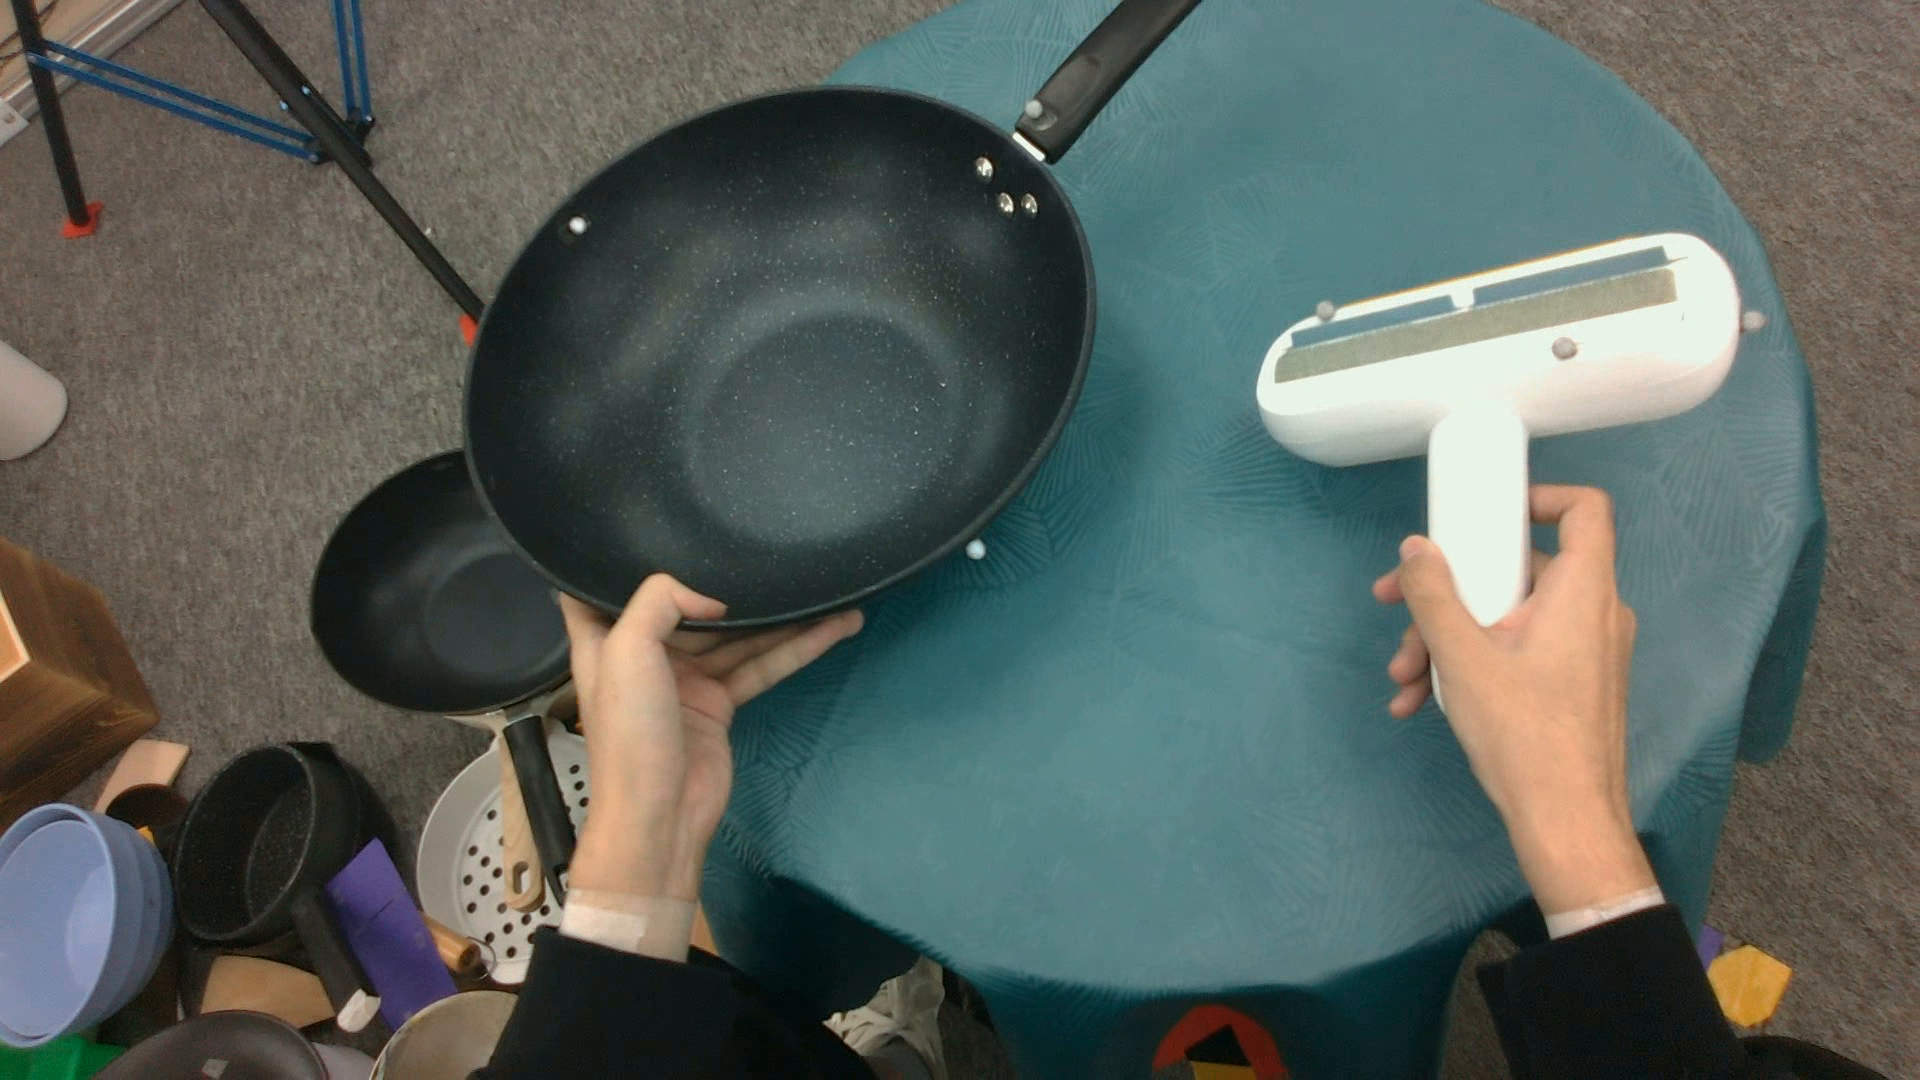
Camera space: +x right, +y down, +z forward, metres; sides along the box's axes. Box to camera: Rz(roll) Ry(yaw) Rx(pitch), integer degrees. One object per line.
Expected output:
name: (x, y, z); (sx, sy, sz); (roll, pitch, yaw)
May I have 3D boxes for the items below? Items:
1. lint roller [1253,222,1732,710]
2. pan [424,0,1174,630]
lint roller: (0.203, -0.029, 0.561); (0.192, 0.074, 0.193); (-1, 64, 38)
pan: (-0.037, -0.143, 0.686); (0.478, 0.111, 0.310); (-40, 64, -10)
